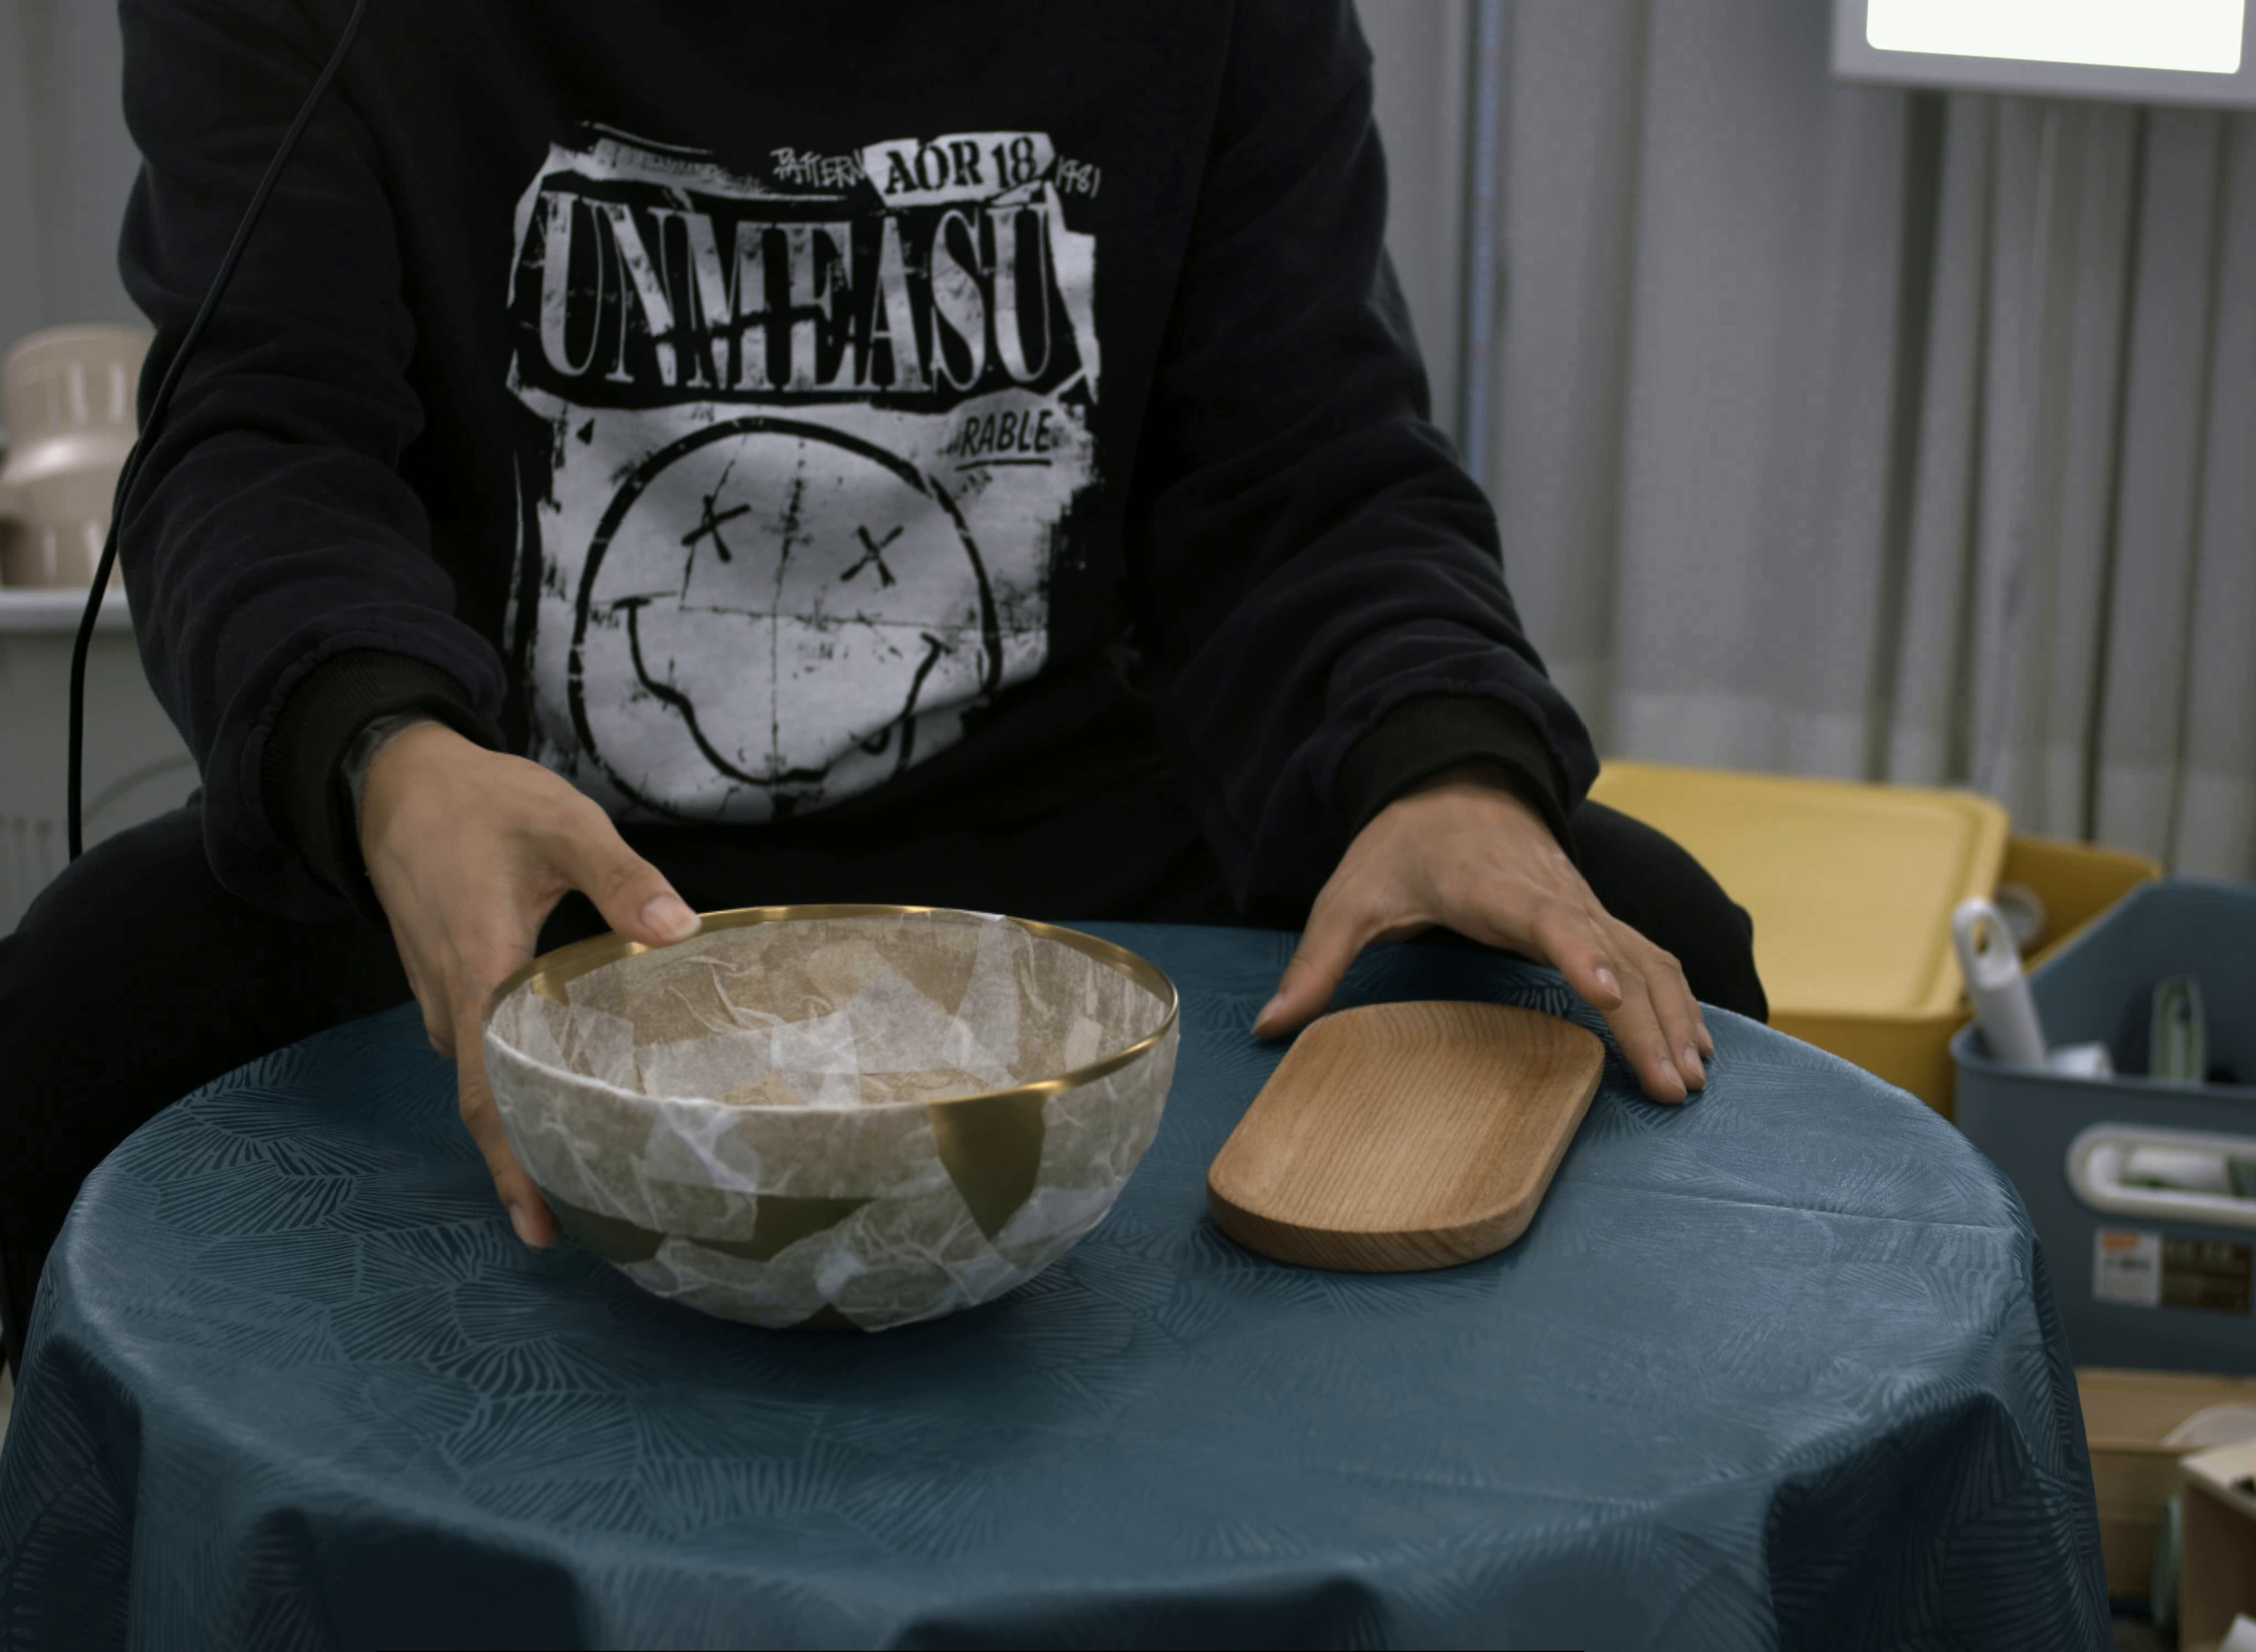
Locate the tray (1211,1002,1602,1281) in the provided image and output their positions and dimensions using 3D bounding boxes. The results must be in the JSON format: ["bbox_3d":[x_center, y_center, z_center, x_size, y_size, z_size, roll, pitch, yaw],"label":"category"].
[{"bbox_3d":[0.090,0.097,1.658,0.101,0.020,0.230,2,18,12],"label":"tray"}]

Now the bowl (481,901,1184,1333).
[{"bbox_3d":[-0.081,0.091,1.526,0.214,0.095,0.213,-1,15,1],"label":"bowl"}]
